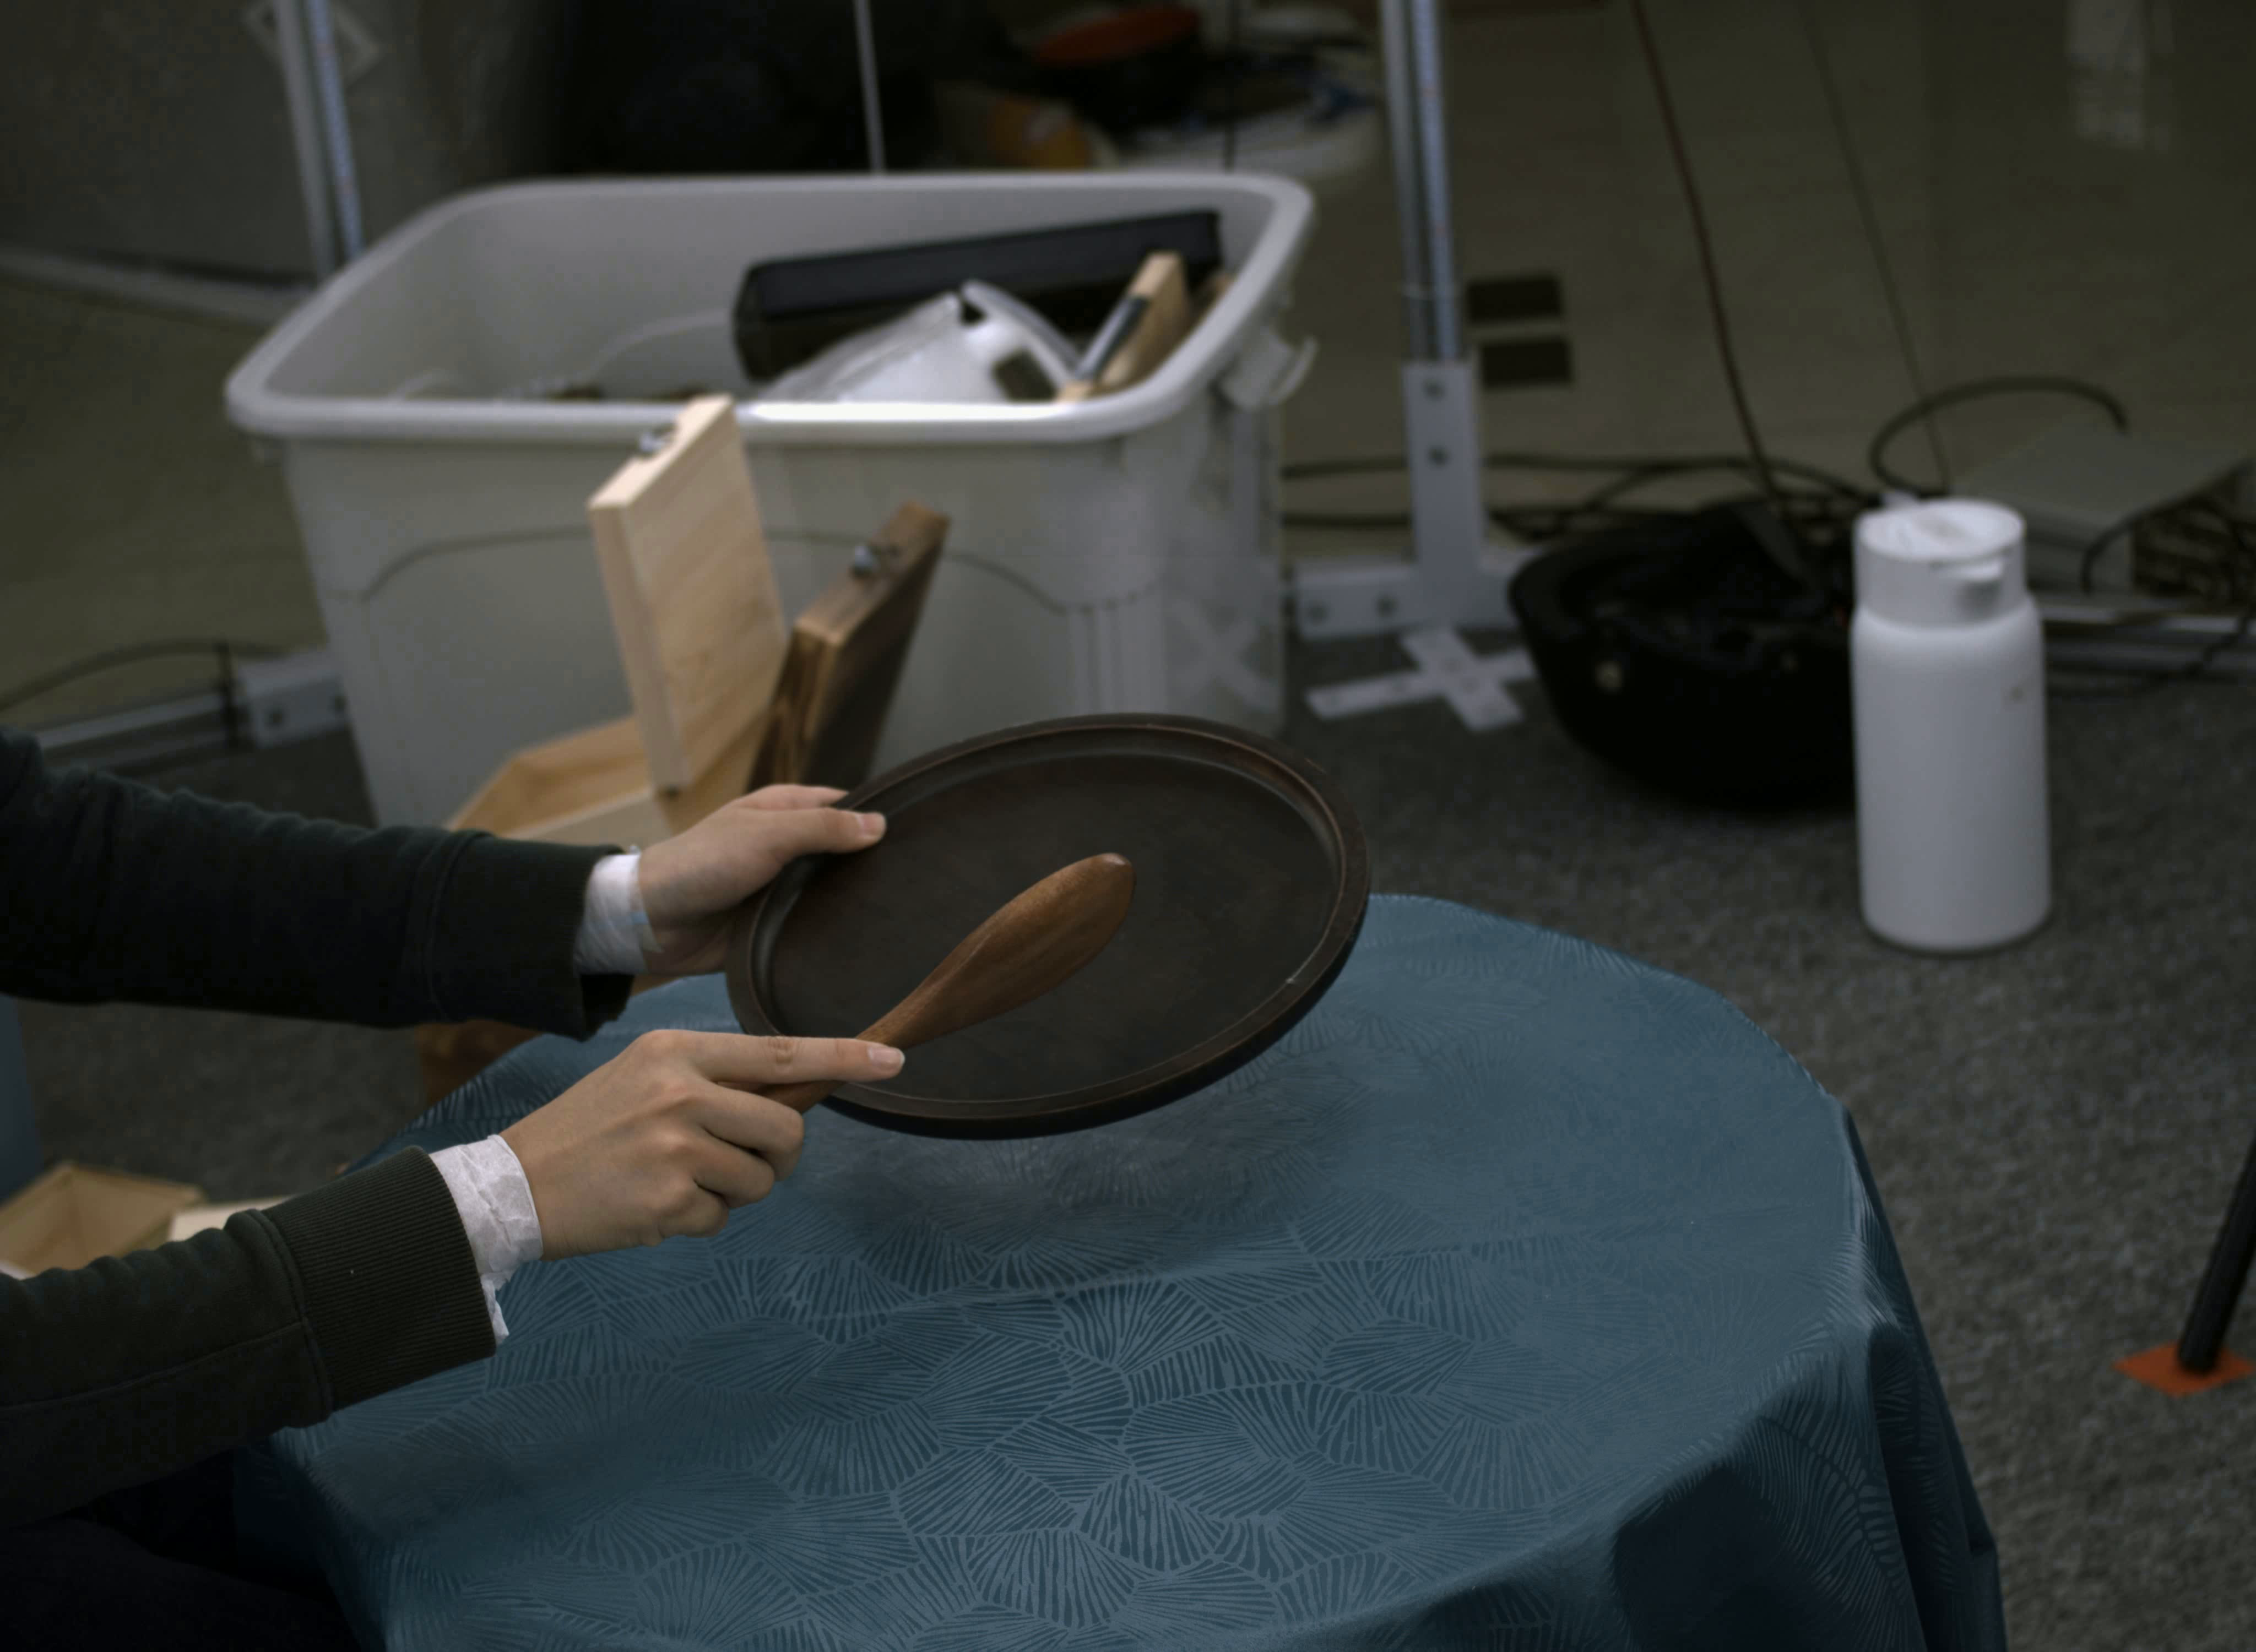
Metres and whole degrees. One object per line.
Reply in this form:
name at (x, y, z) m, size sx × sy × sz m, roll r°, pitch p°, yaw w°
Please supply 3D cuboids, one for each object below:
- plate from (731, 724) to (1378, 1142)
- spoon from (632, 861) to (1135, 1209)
plate at (-0.028, 0.039, 2.179) m, size 0.254 × 0.029 × 0.250 m, roll -8°, pitch 36°, yaw 6°
spoon at (-0.084, 0.076, 2.028) m, size 0.214 × 0.076 × 0.017 m, roll -31°, pitch 70°, yaw -15°
